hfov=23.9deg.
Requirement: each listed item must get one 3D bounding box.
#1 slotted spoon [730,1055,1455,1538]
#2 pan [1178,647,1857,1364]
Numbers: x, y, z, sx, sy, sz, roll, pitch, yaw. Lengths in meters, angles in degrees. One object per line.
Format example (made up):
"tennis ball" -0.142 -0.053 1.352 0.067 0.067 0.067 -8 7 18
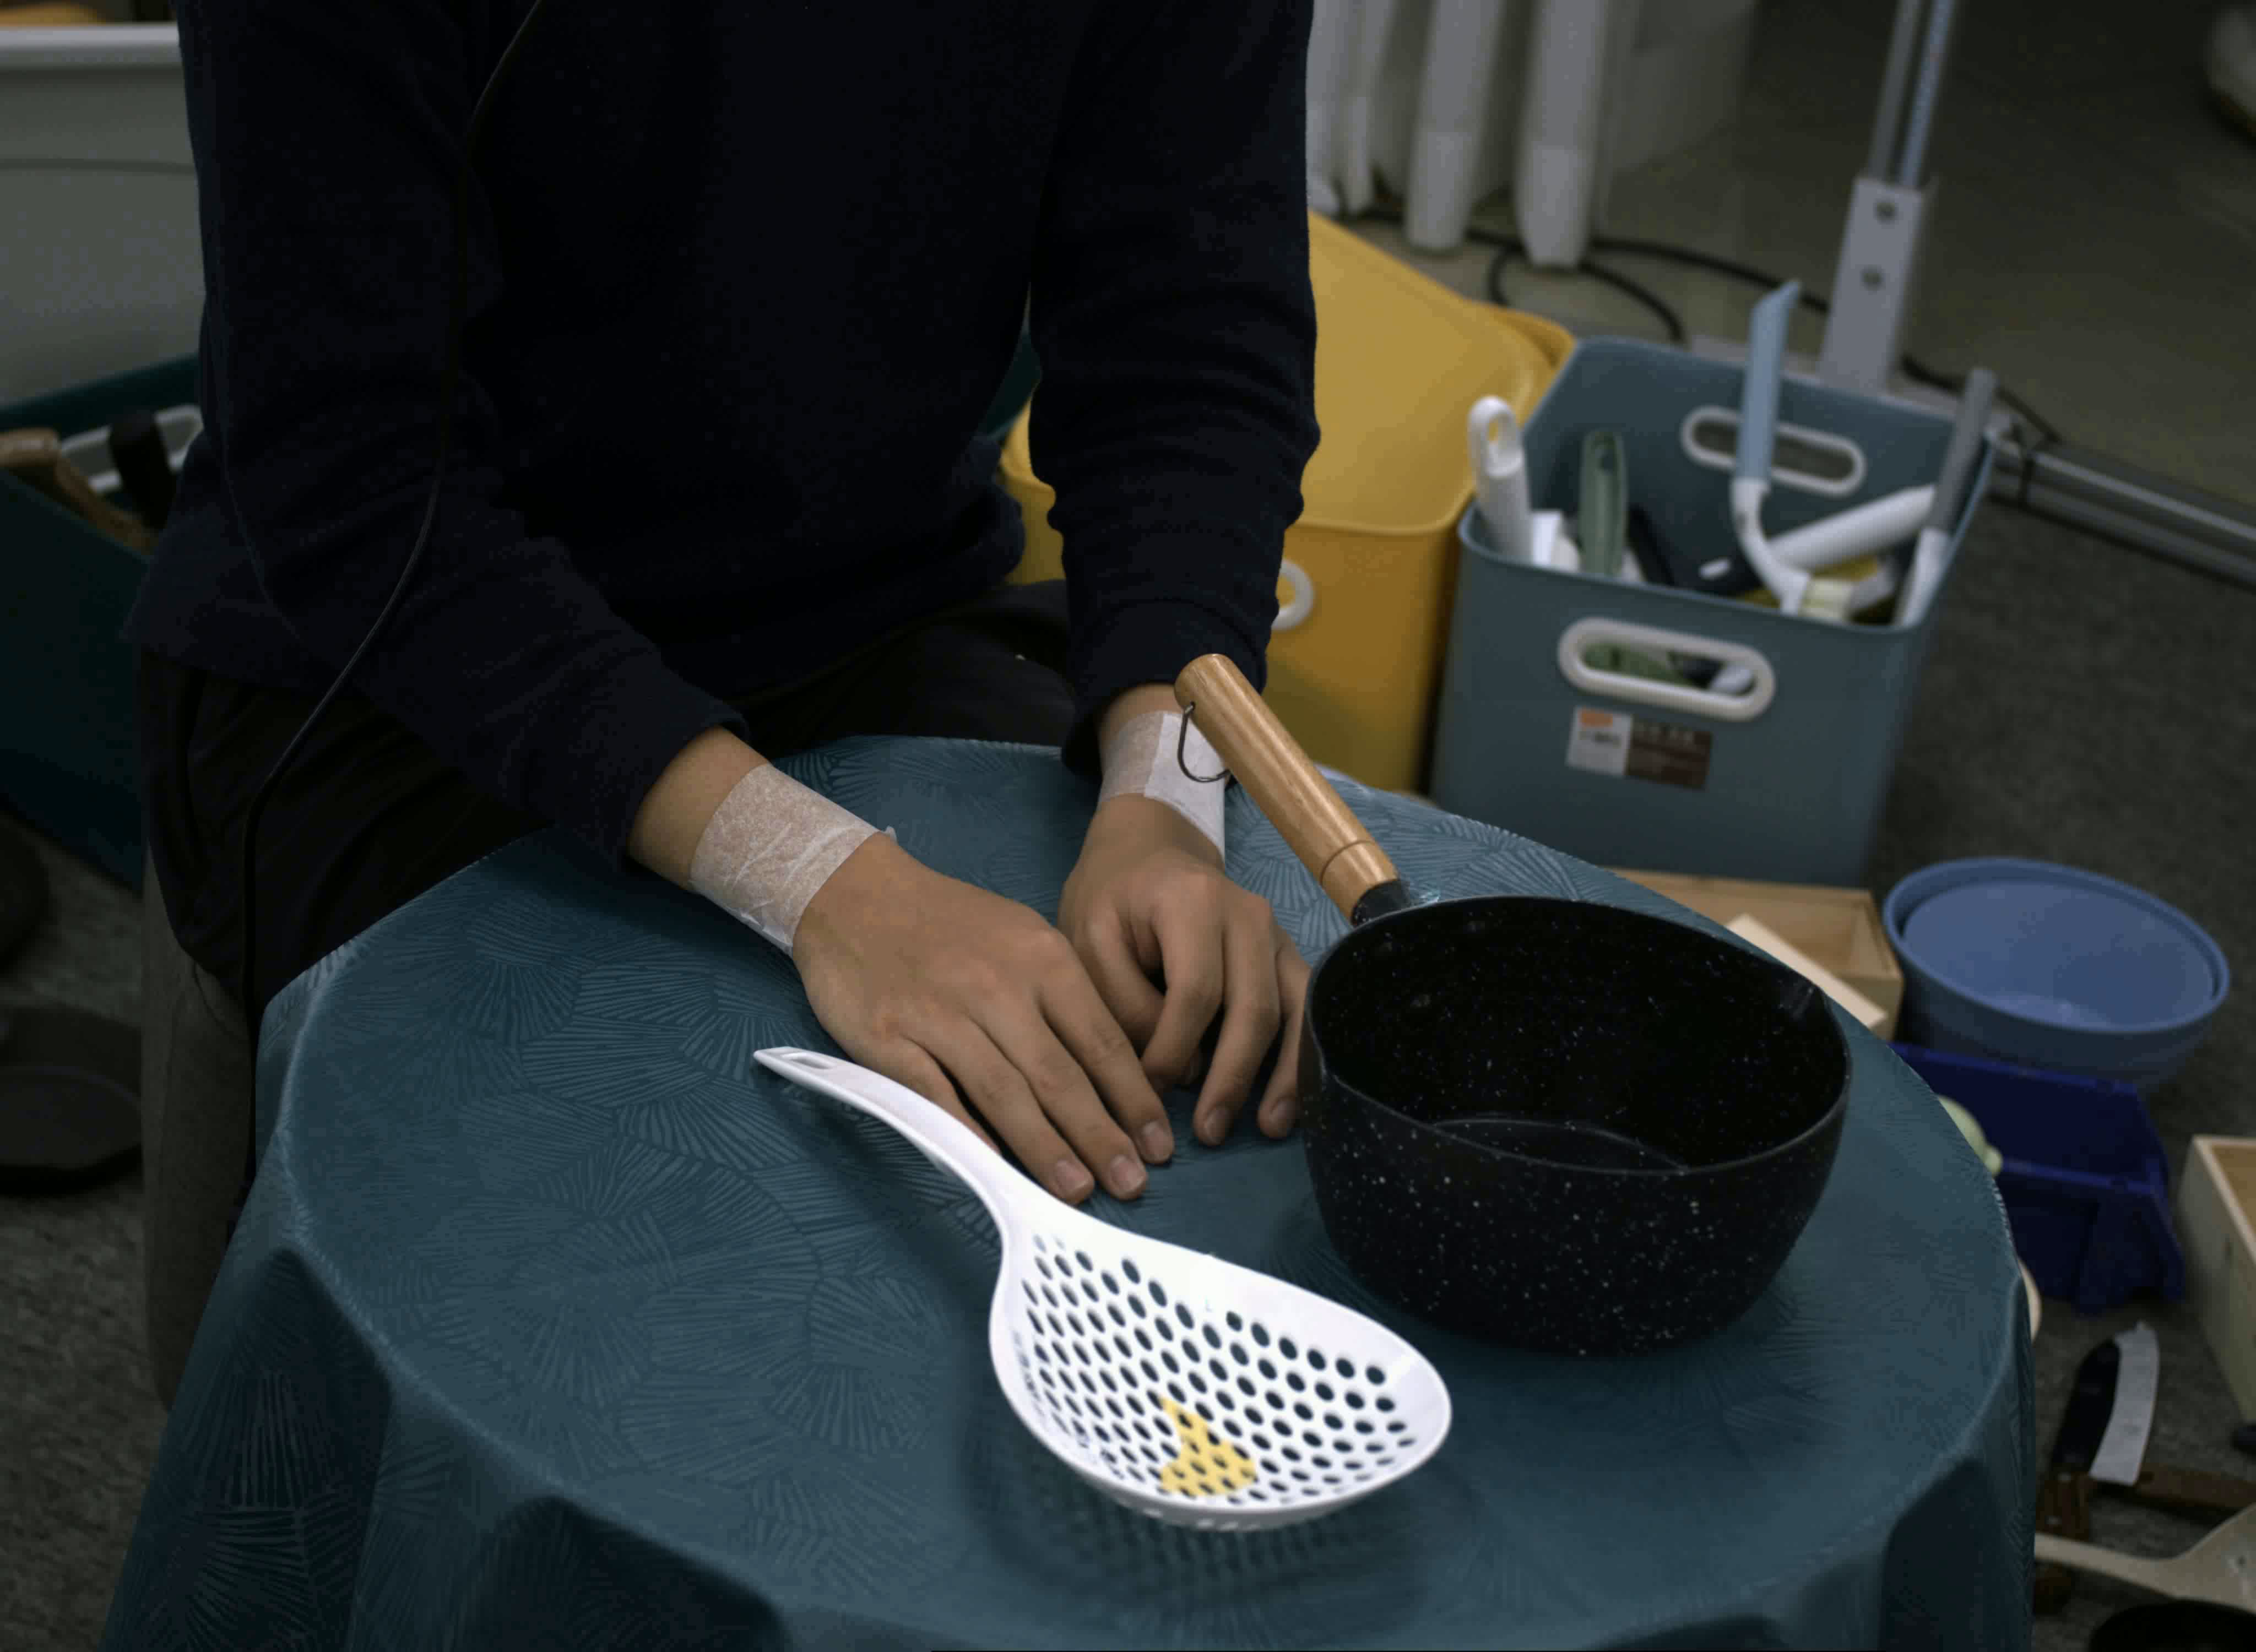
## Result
"slotted spoon" -0.030 0.139 1.718 0.136 0.050 0.351 -13 34 -31
"pan" 0.105 0.059 1.835 0.206 0.108 0.346 -12 33 -30
